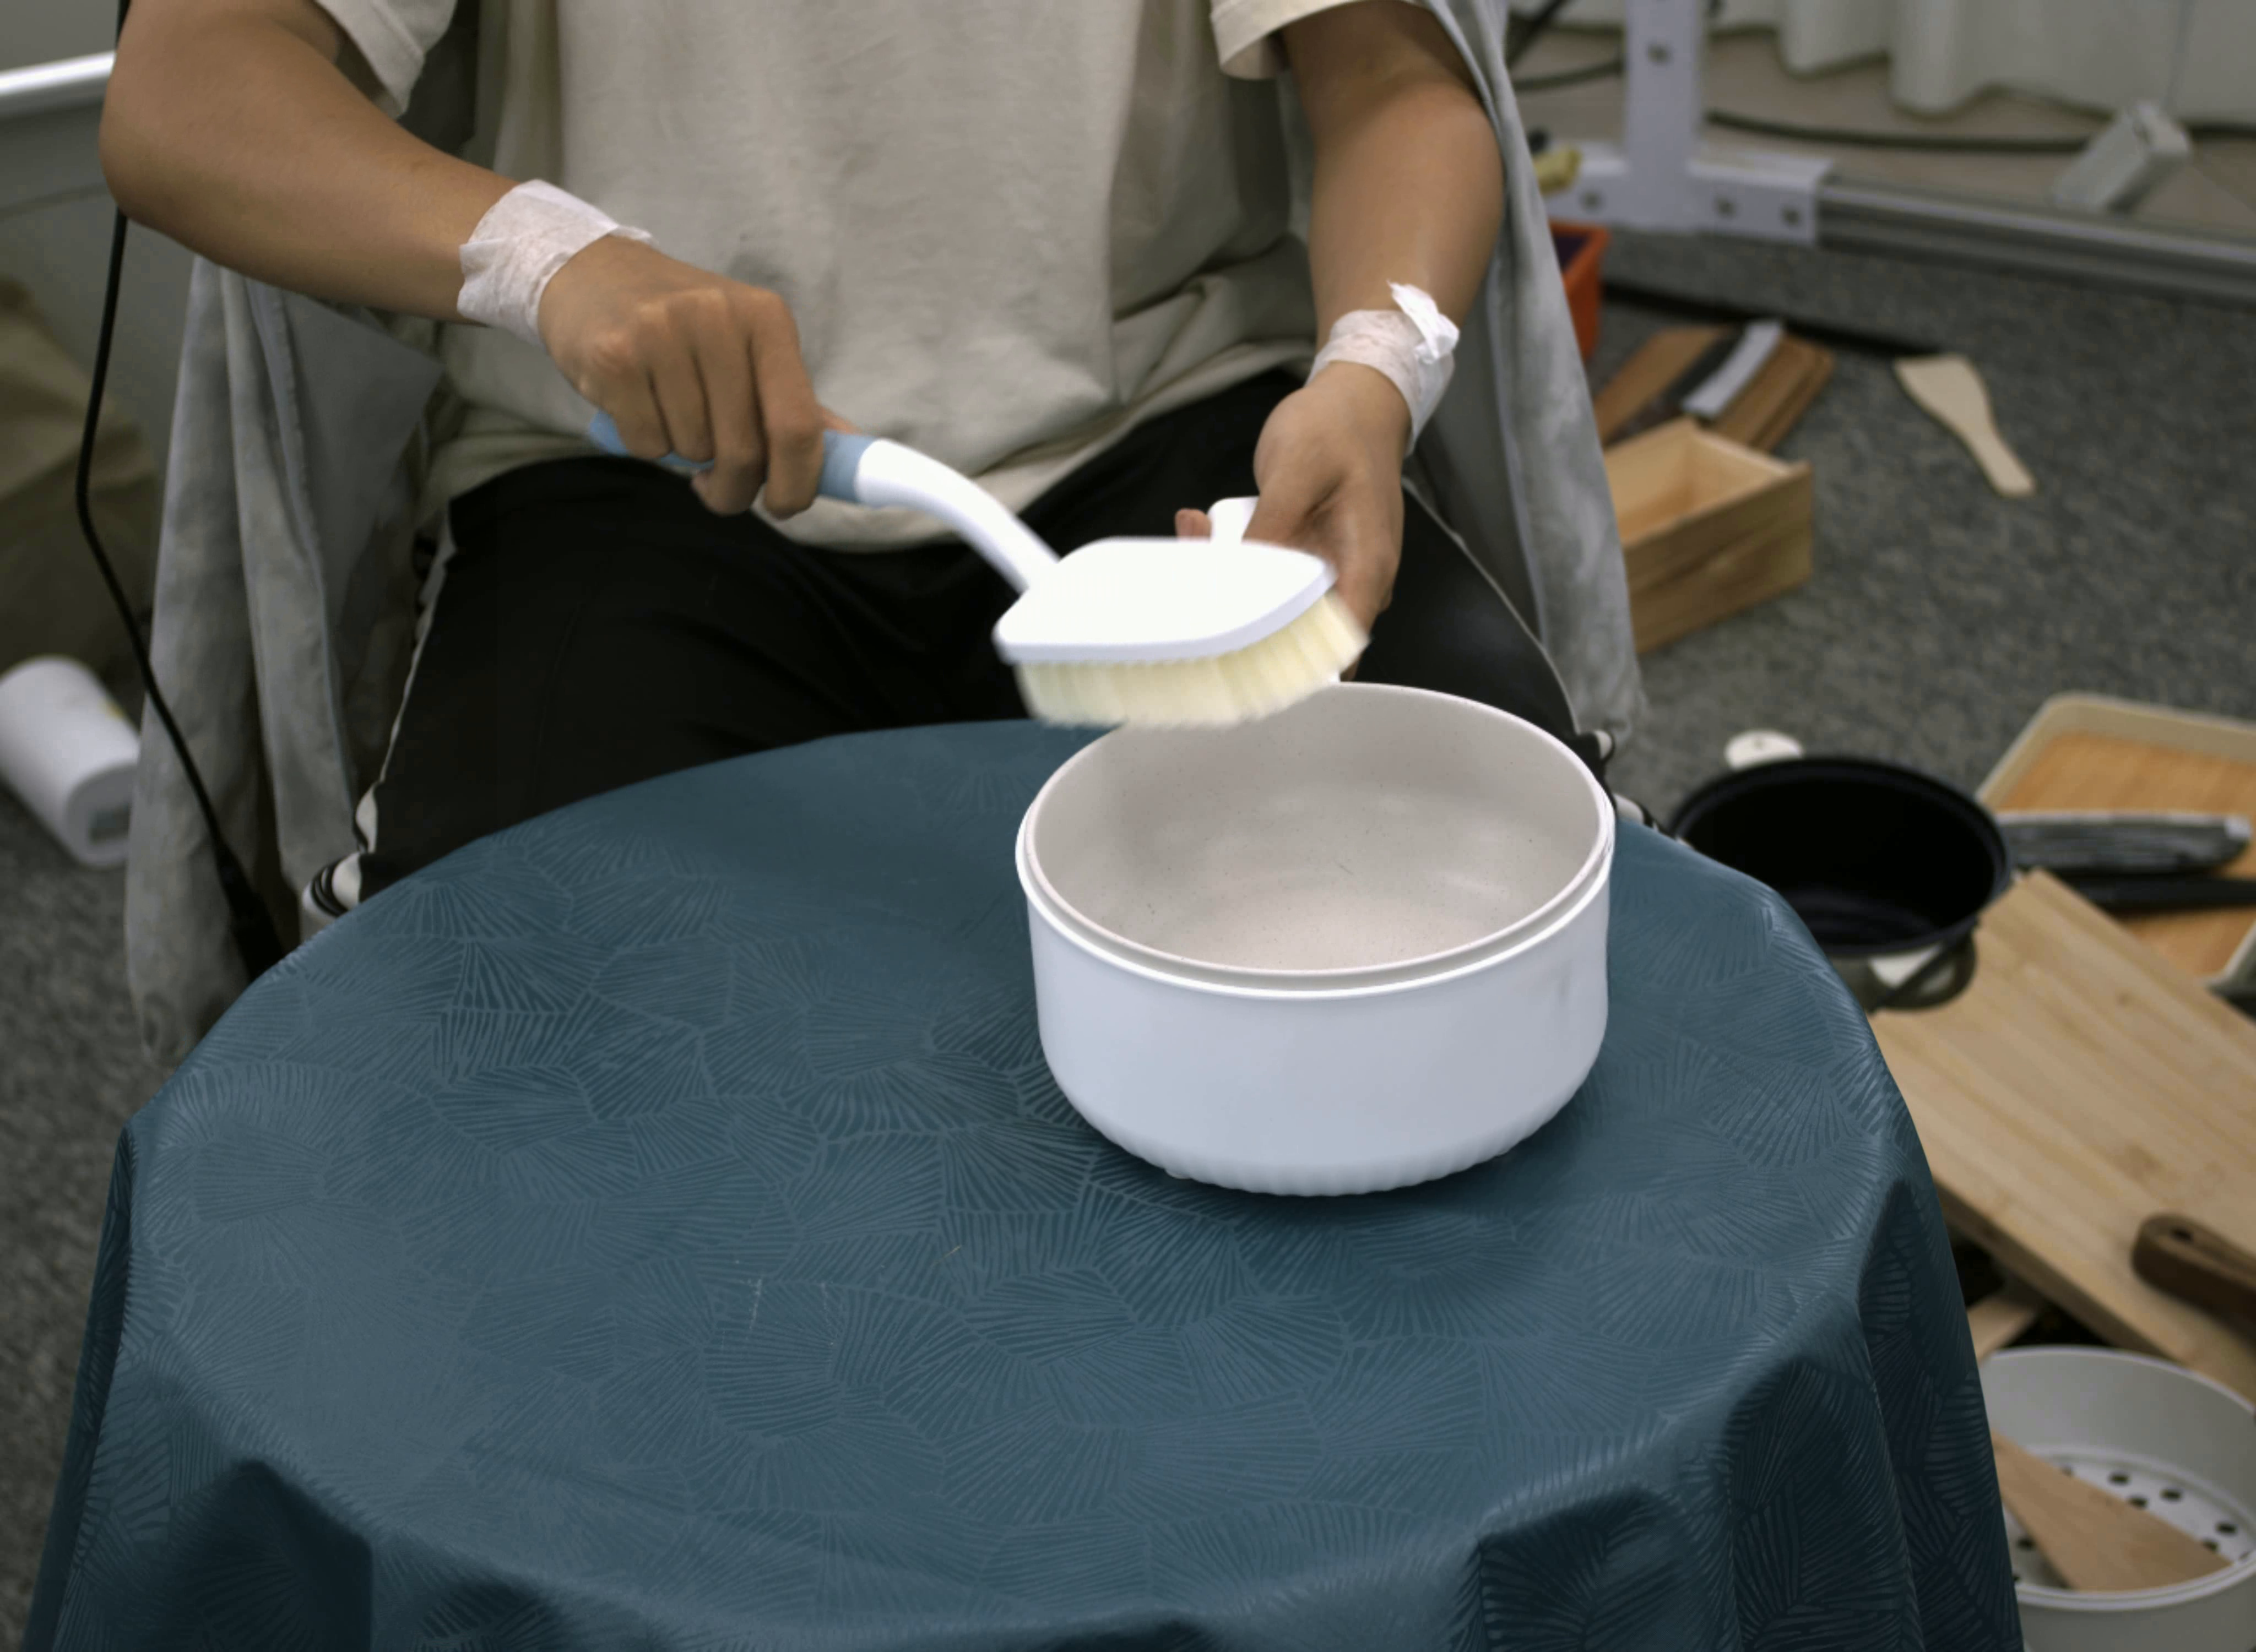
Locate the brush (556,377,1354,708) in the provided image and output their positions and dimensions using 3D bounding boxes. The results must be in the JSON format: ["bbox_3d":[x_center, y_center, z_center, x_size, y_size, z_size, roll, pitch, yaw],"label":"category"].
[{"bbox_3d":[-0.062,-0.093,1.986,0.323,0.085,0.083,12,2,30],"label":"brush"}]

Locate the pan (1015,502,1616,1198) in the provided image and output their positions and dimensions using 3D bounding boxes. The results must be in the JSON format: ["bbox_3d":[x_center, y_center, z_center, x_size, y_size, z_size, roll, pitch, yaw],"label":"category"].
[{"bbox_3d":[0.060,0.006,1.963,0.200,0.101,0.360,-4,28,-2],"label":"pan"}]
